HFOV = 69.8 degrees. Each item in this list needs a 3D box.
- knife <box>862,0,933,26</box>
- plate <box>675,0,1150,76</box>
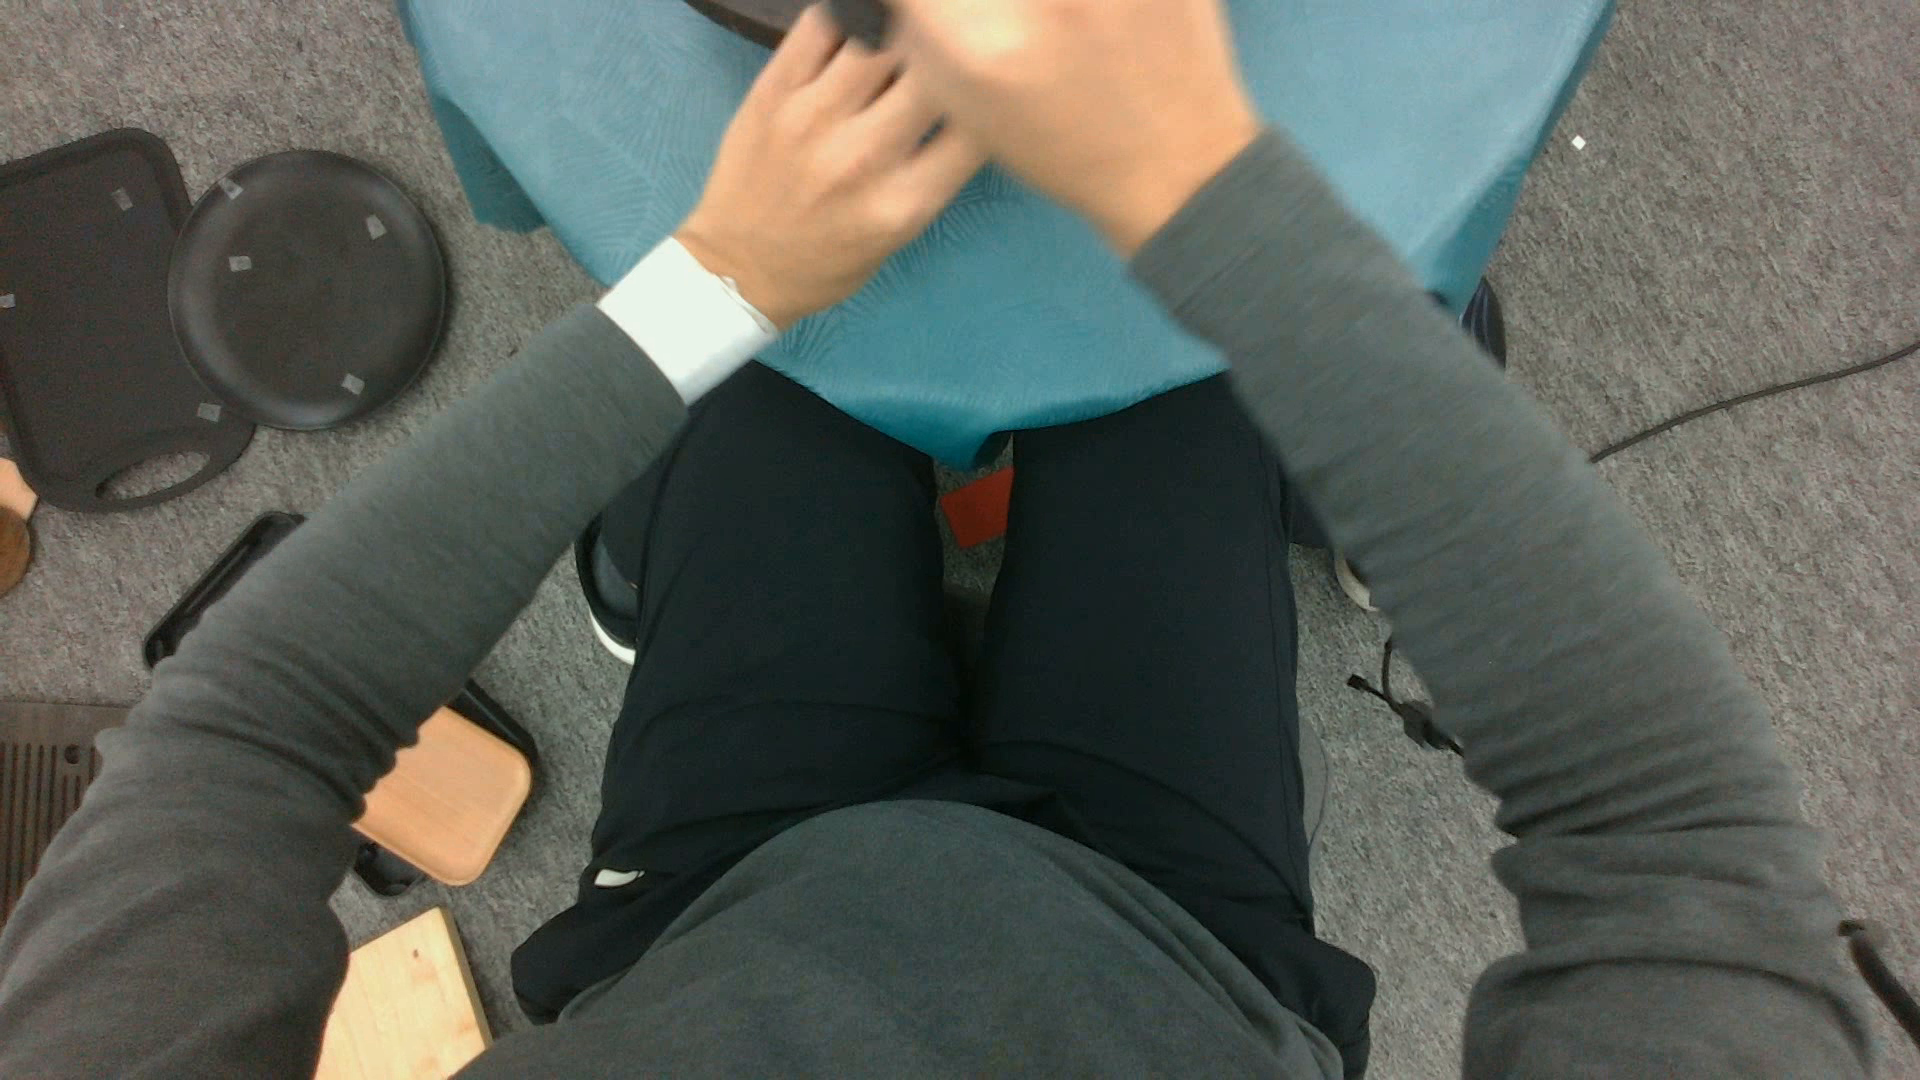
[{"bbox_3d":[0.002,-0.246,0.392,0.024,0.016,0.239,10,71,-2],"label":"knife"},{"bbox_3d":[-0.022,-0.282,0.578,0.255,0.029,0.256,1,57,-2],"label":"plate"}]
